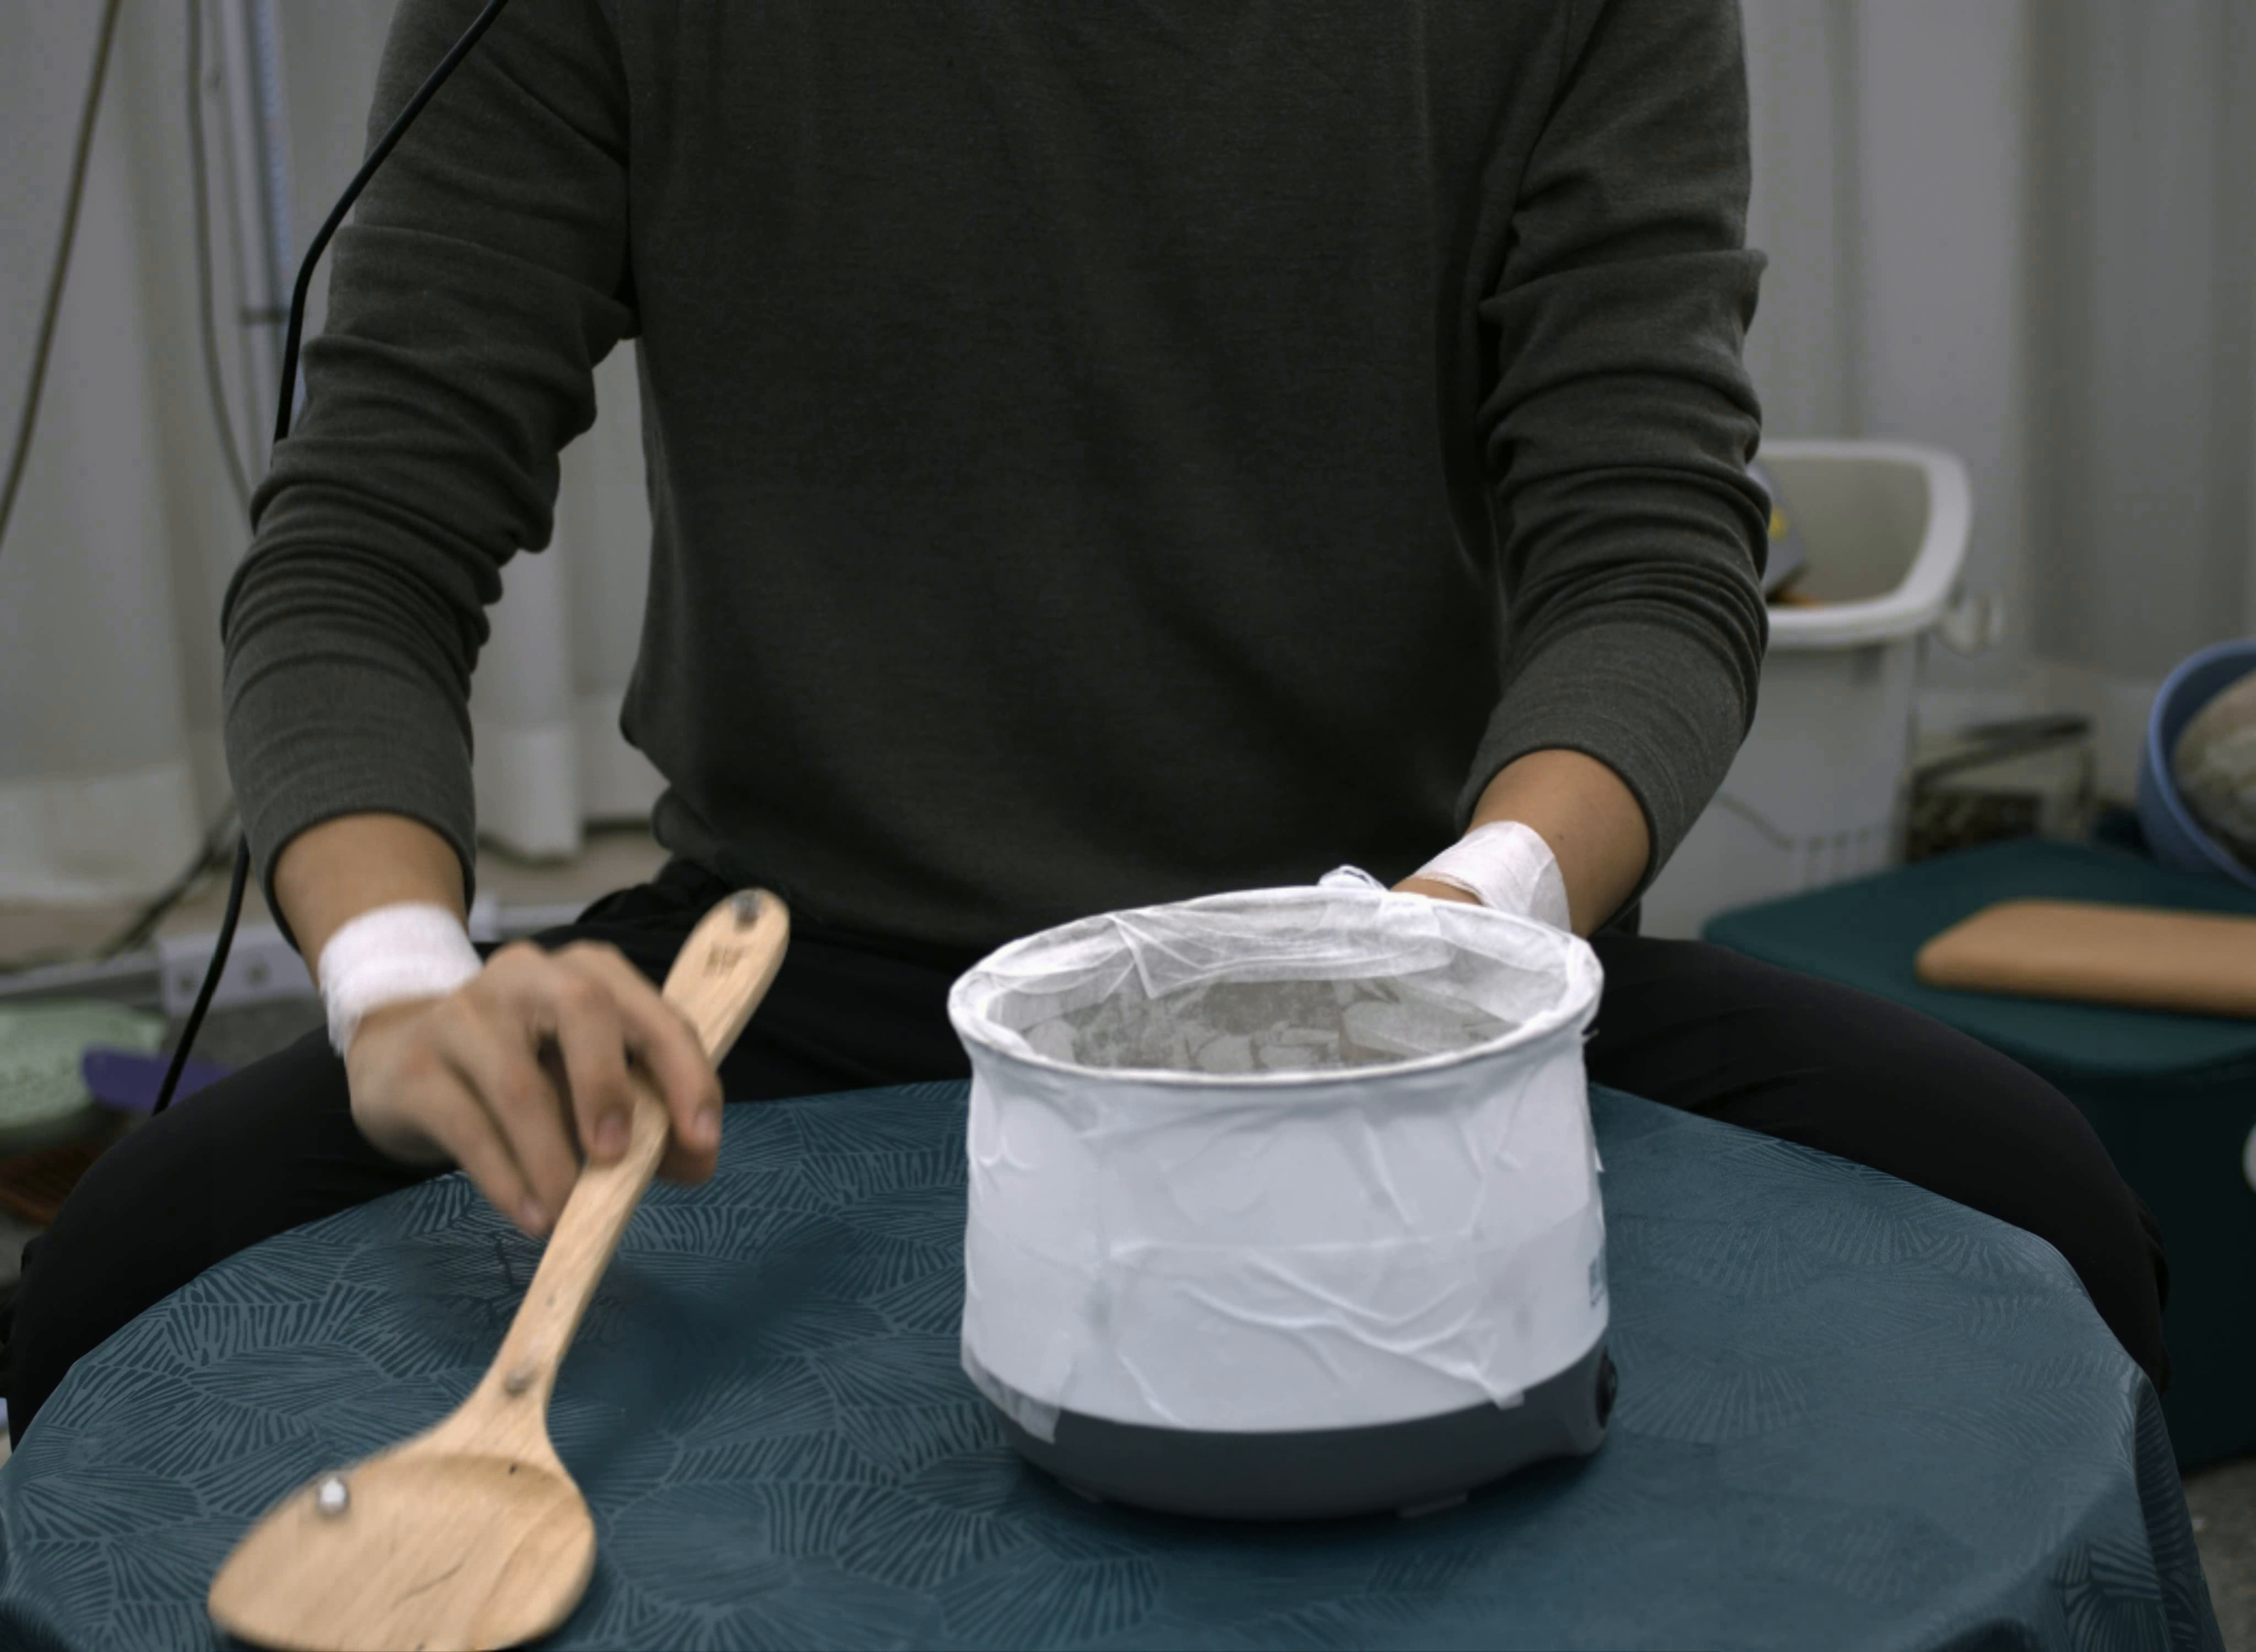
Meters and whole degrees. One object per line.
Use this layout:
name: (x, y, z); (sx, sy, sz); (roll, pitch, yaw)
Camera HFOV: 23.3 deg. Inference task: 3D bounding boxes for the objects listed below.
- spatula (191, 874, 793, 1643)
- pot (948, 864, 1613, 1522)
spatula: (-0.159, 0.111, 1.548); (0.095, 0.018, 0.395); (12, 32, 6)
pot: (0.048, 0.095, 1.516); (0.178, 0.136, 0.235); (1, 15, 13)
